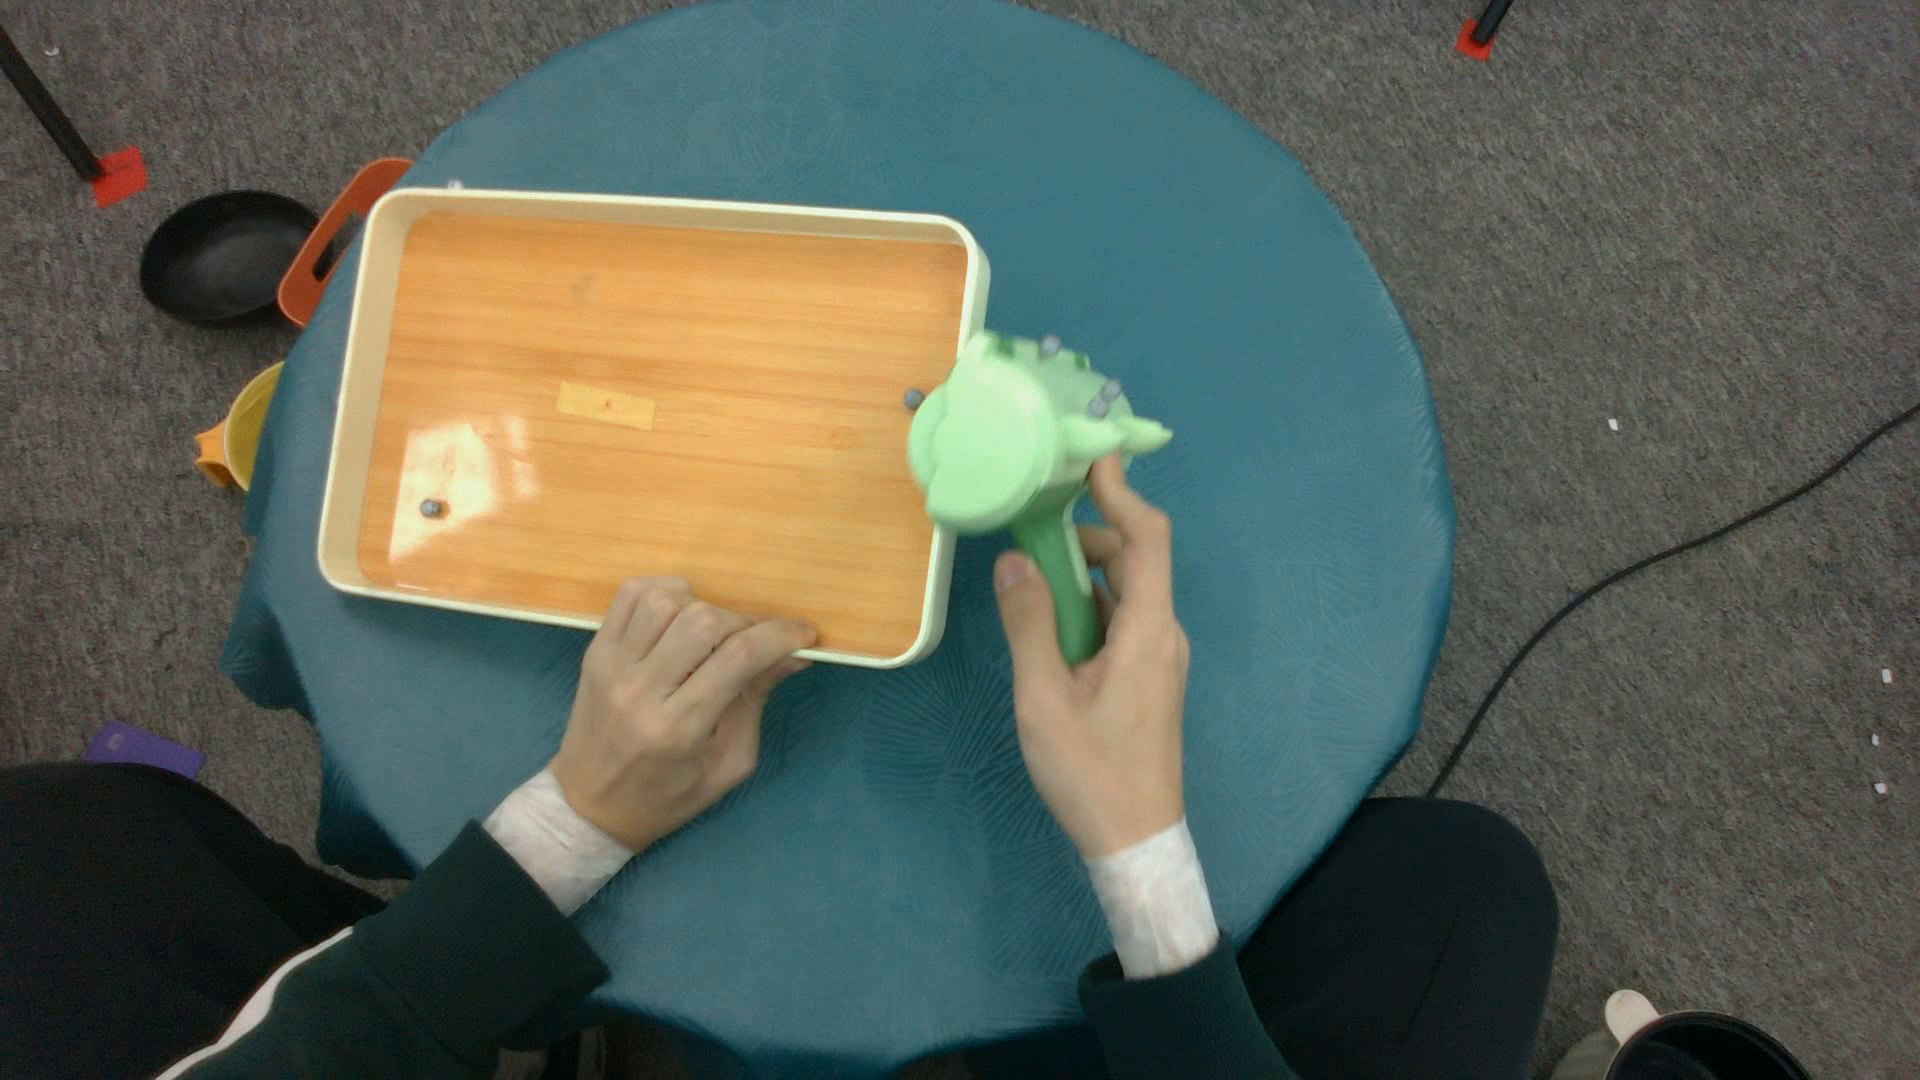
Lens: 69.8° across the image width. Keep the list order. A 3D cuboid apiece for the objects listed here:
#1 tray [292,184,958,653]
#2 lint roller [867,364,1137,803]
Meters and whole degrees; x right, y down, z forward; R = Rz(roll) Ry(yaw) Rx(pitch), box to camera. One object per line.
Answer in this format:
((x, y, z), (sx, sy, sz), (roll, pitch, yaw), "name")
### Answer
((-0.154, -0.059, 0.612), (0.300, 0.027, 0.191), (5, 88, 15), "tray")
((0.042, 0.014, 0.573), (0.082, 0.199, 0.183), (-21, 90, 18), "lint roller")
